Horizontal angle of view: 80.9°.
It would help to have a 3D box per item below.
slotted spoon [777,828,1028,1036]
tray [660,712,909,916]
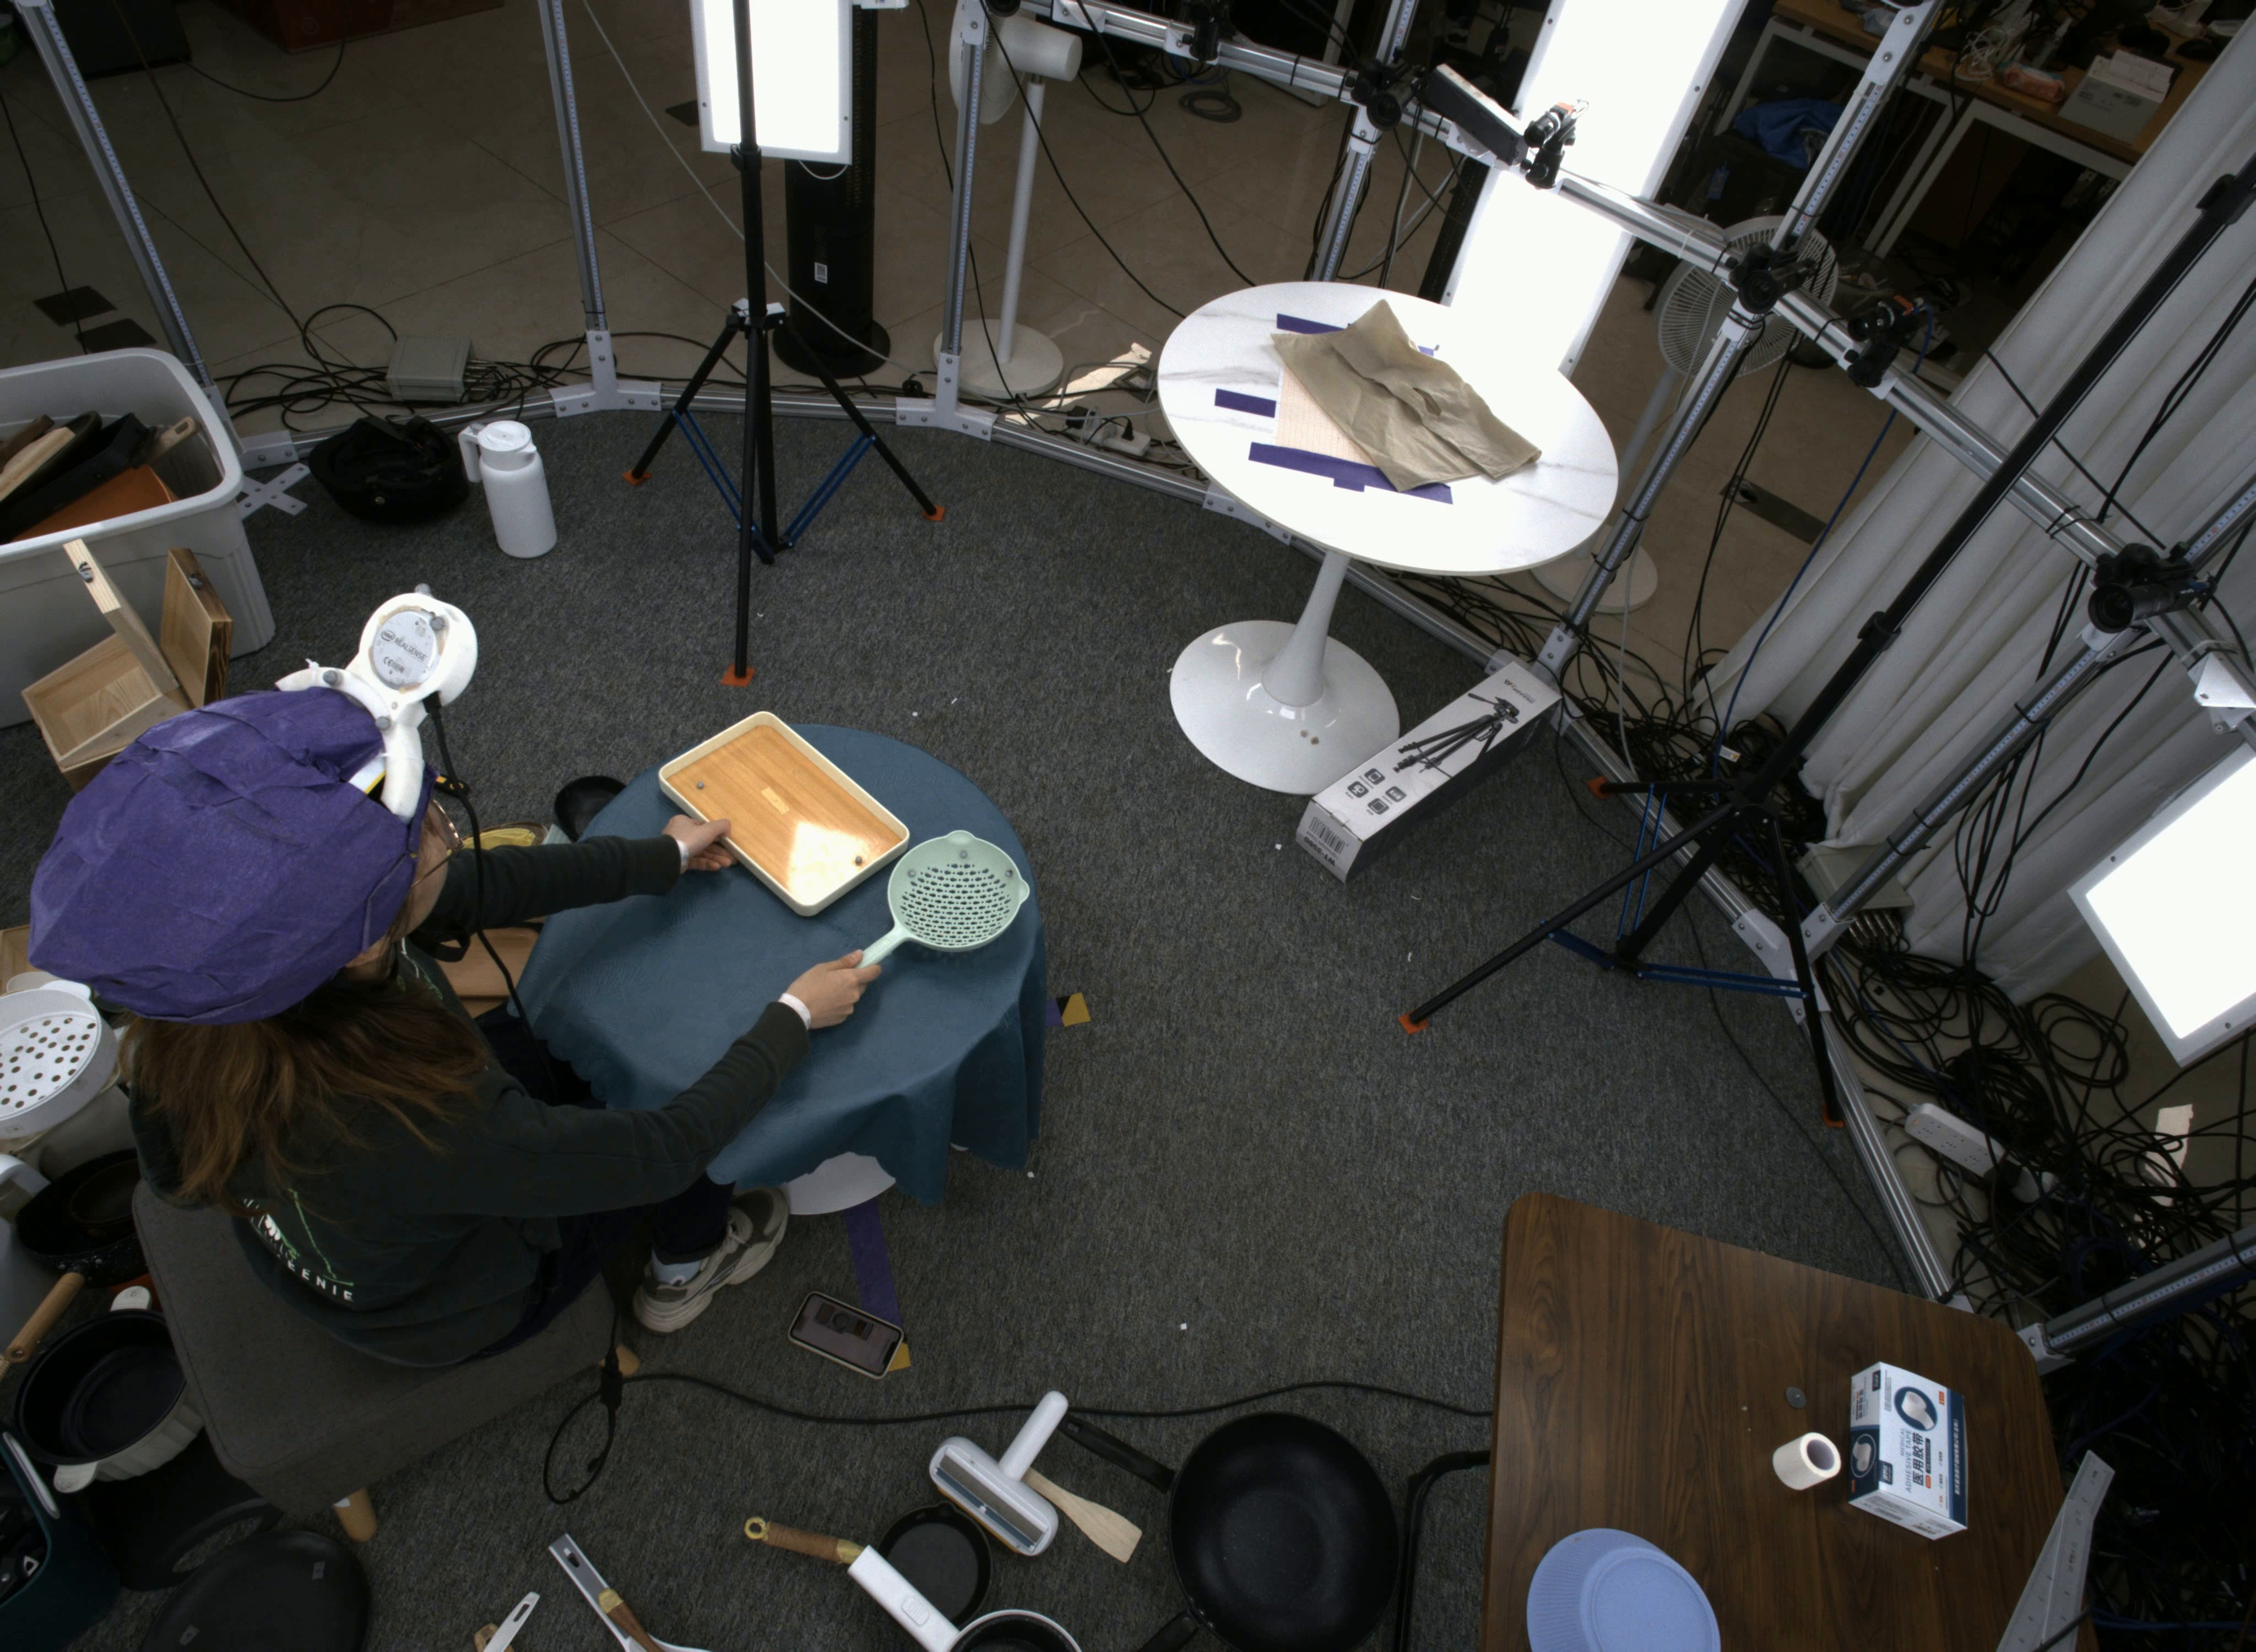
[{"bbox_3d":[-0.287,0.138,1.614,0.165,0.077,0.360,40,51,20],"label":"slotted spoon"},{"bbox_3d":[-0.455,-0.023,1.714,0.294,0.028,0.192,38,51,15],"label":"tray"}]
